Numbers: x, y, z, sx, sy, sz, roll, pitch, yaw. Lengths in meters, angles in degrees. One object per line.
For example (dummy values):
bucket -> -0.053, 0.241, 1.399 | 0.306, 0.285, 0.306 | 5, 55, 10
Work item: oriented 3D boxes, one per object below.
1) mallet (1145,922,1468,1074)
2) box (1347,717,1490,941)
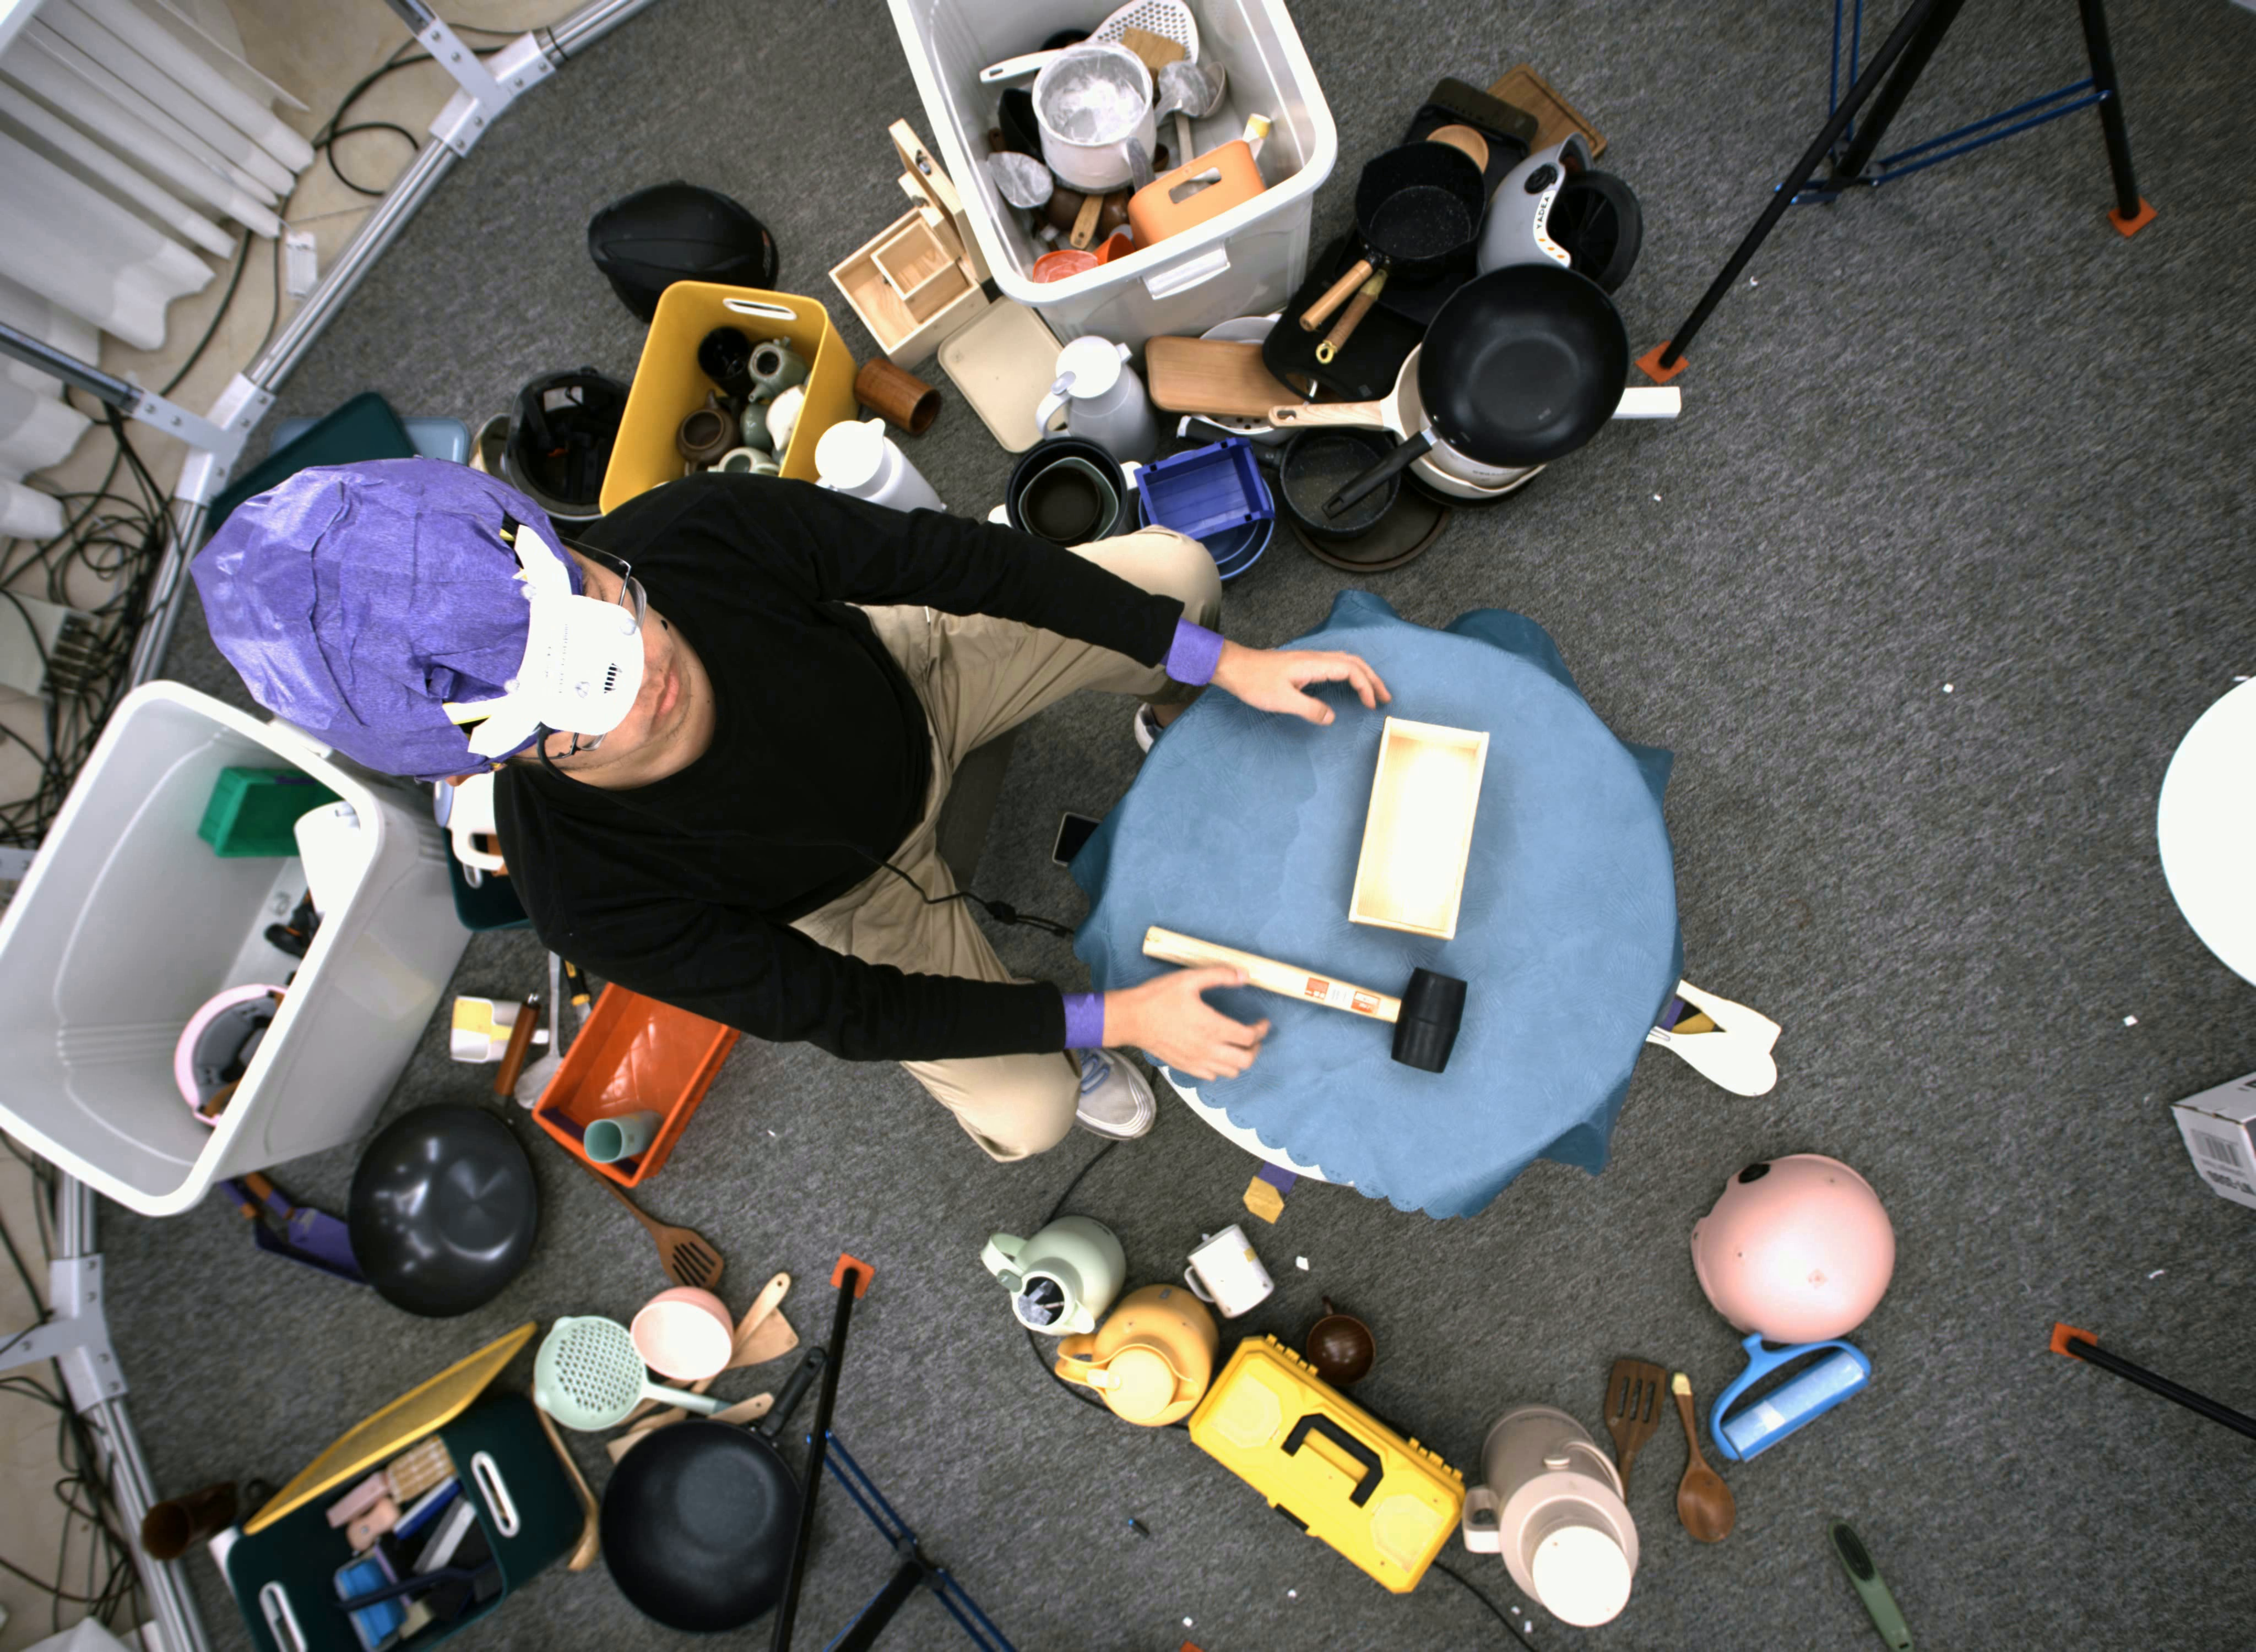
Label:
mallet -> 0.178, 0.162, 1.444 | 0.339, 0.064, 0.101 | 16, 88, 12
box -> 0.298, 0.003, 1.419 | 0.108, 0.080, 0.211 | 11, 89, 12
